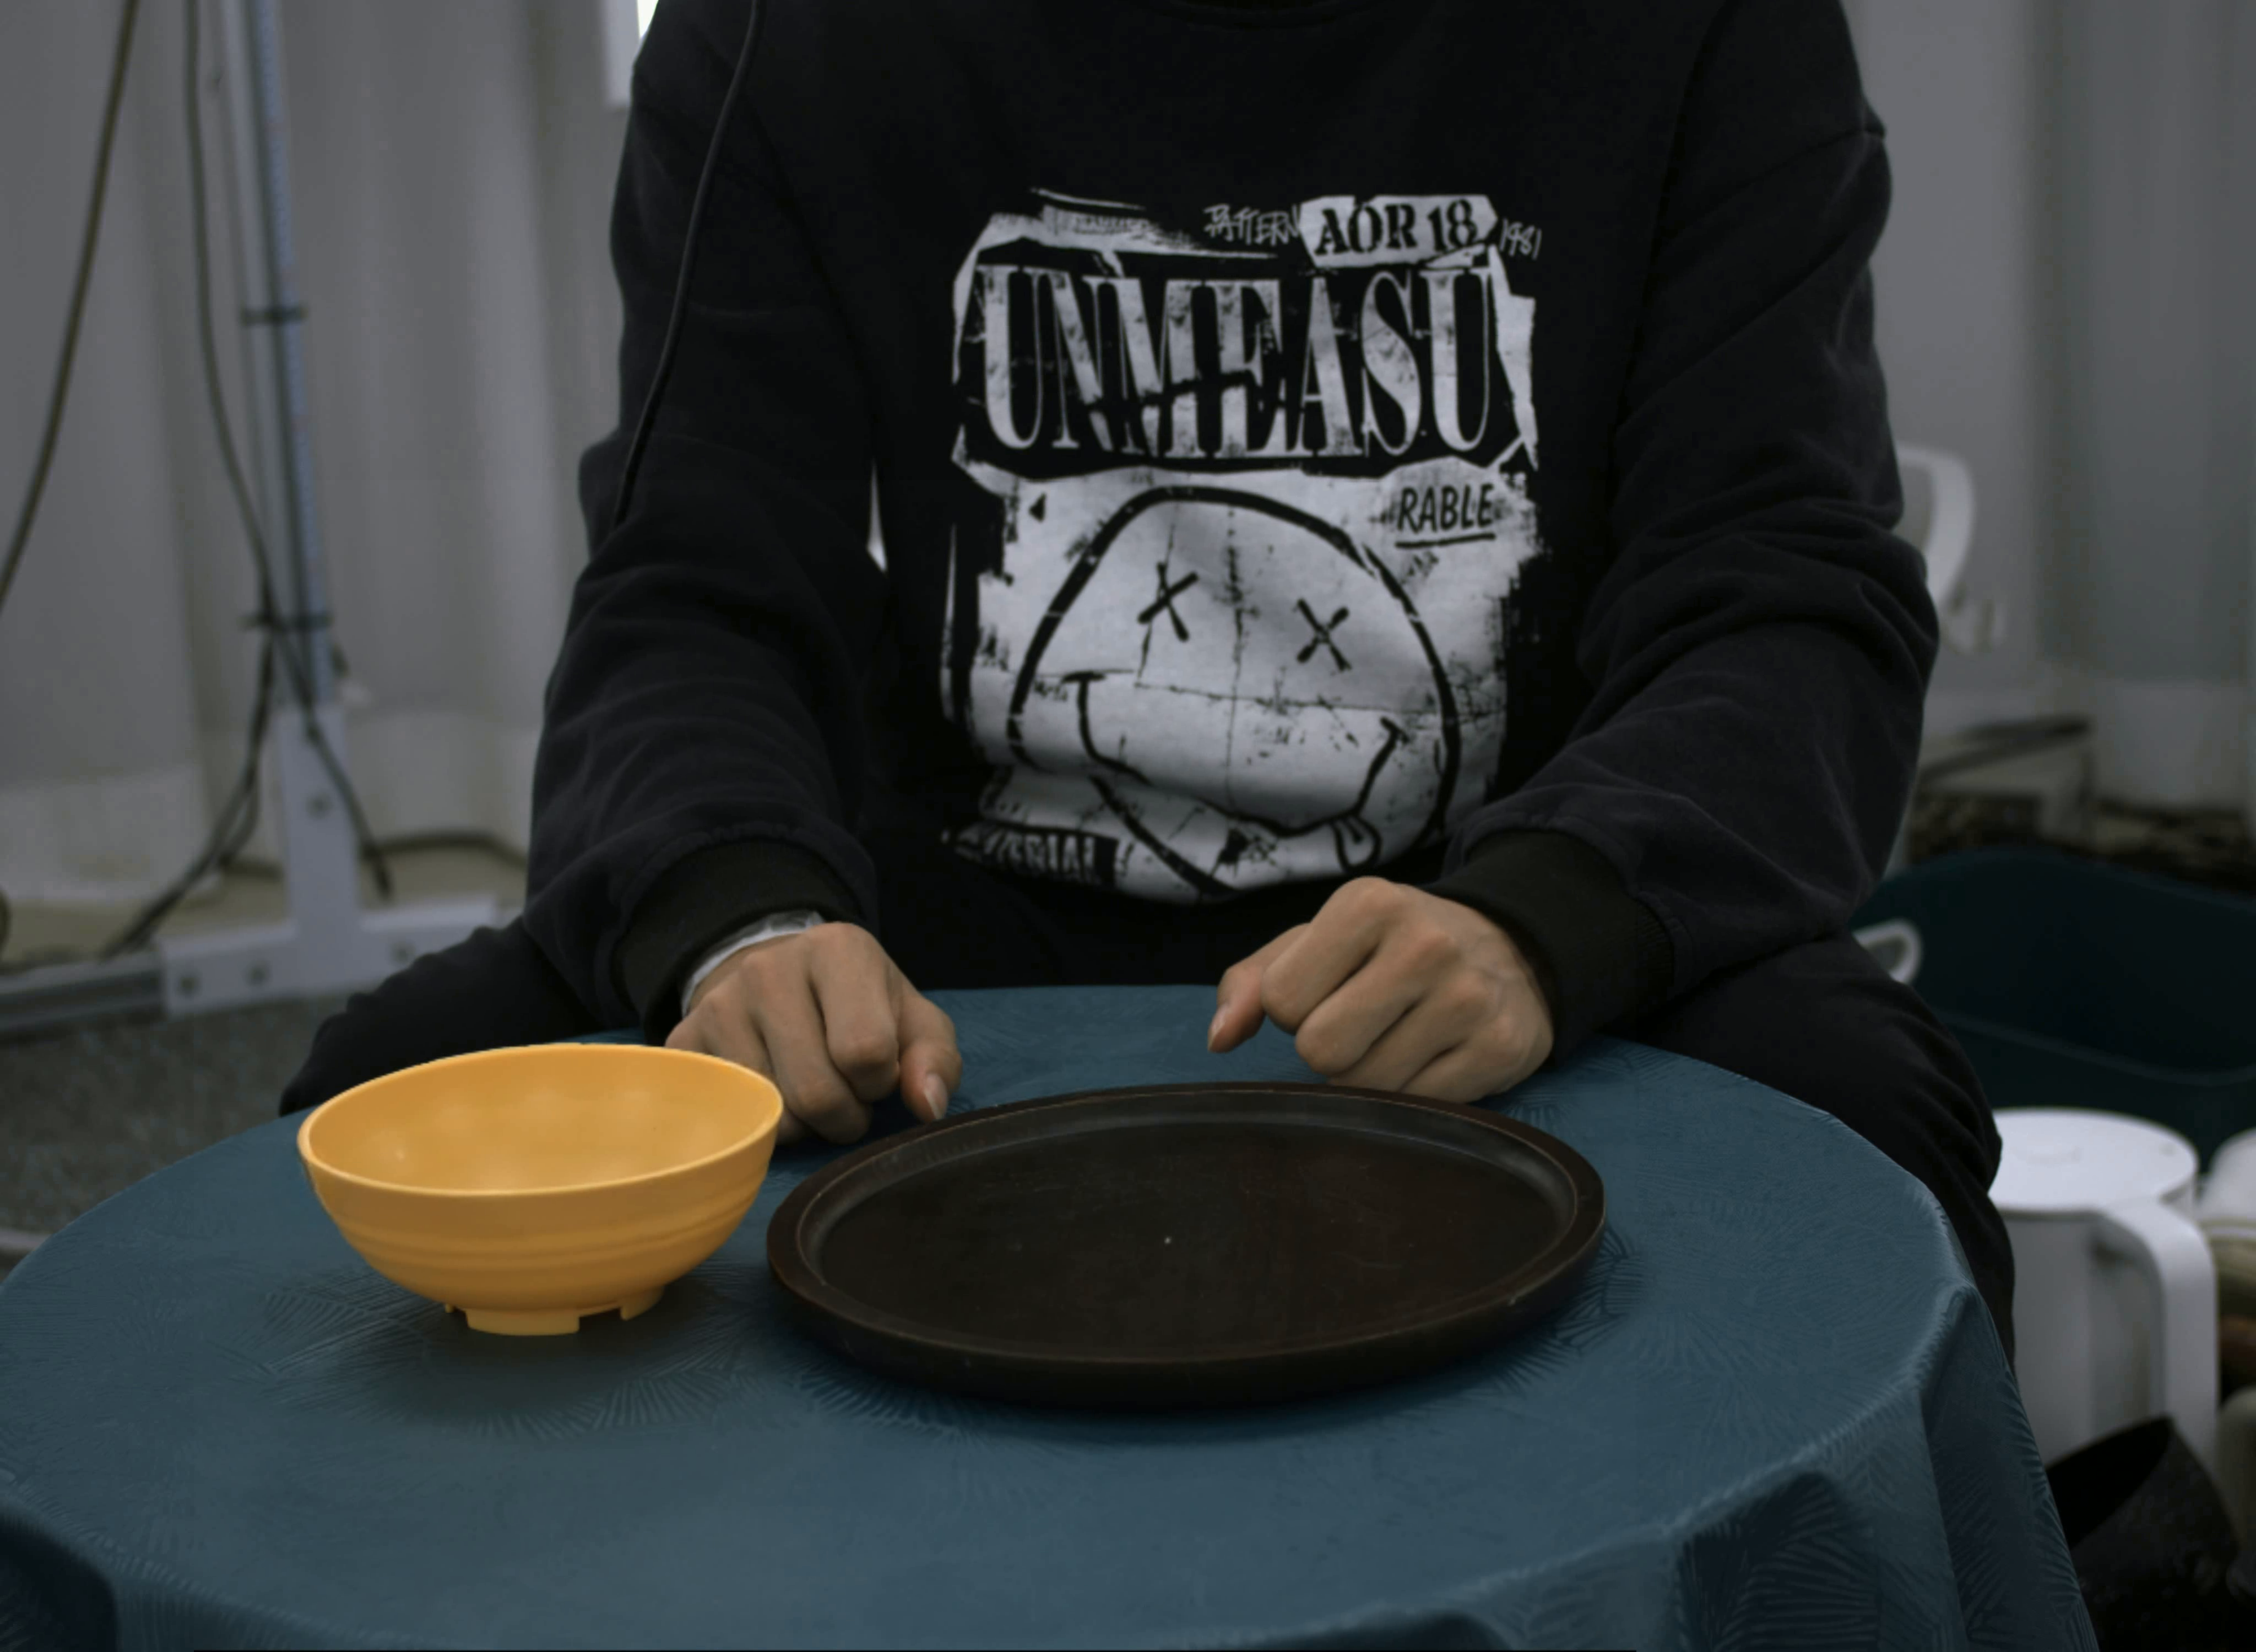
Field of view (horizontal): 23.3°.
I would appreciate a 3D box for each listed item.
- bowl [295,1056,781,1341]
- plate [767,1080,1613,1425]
[{"bbox_3d":[-0.175,0.116,1.636,0.145,0.060,0.146,-1,13,0],"label":"bowl"},{"bbox_3d":[0.018,0.125,1.631,0.254,0.029,0.256,-4,14,1],"label":"plate"}]
